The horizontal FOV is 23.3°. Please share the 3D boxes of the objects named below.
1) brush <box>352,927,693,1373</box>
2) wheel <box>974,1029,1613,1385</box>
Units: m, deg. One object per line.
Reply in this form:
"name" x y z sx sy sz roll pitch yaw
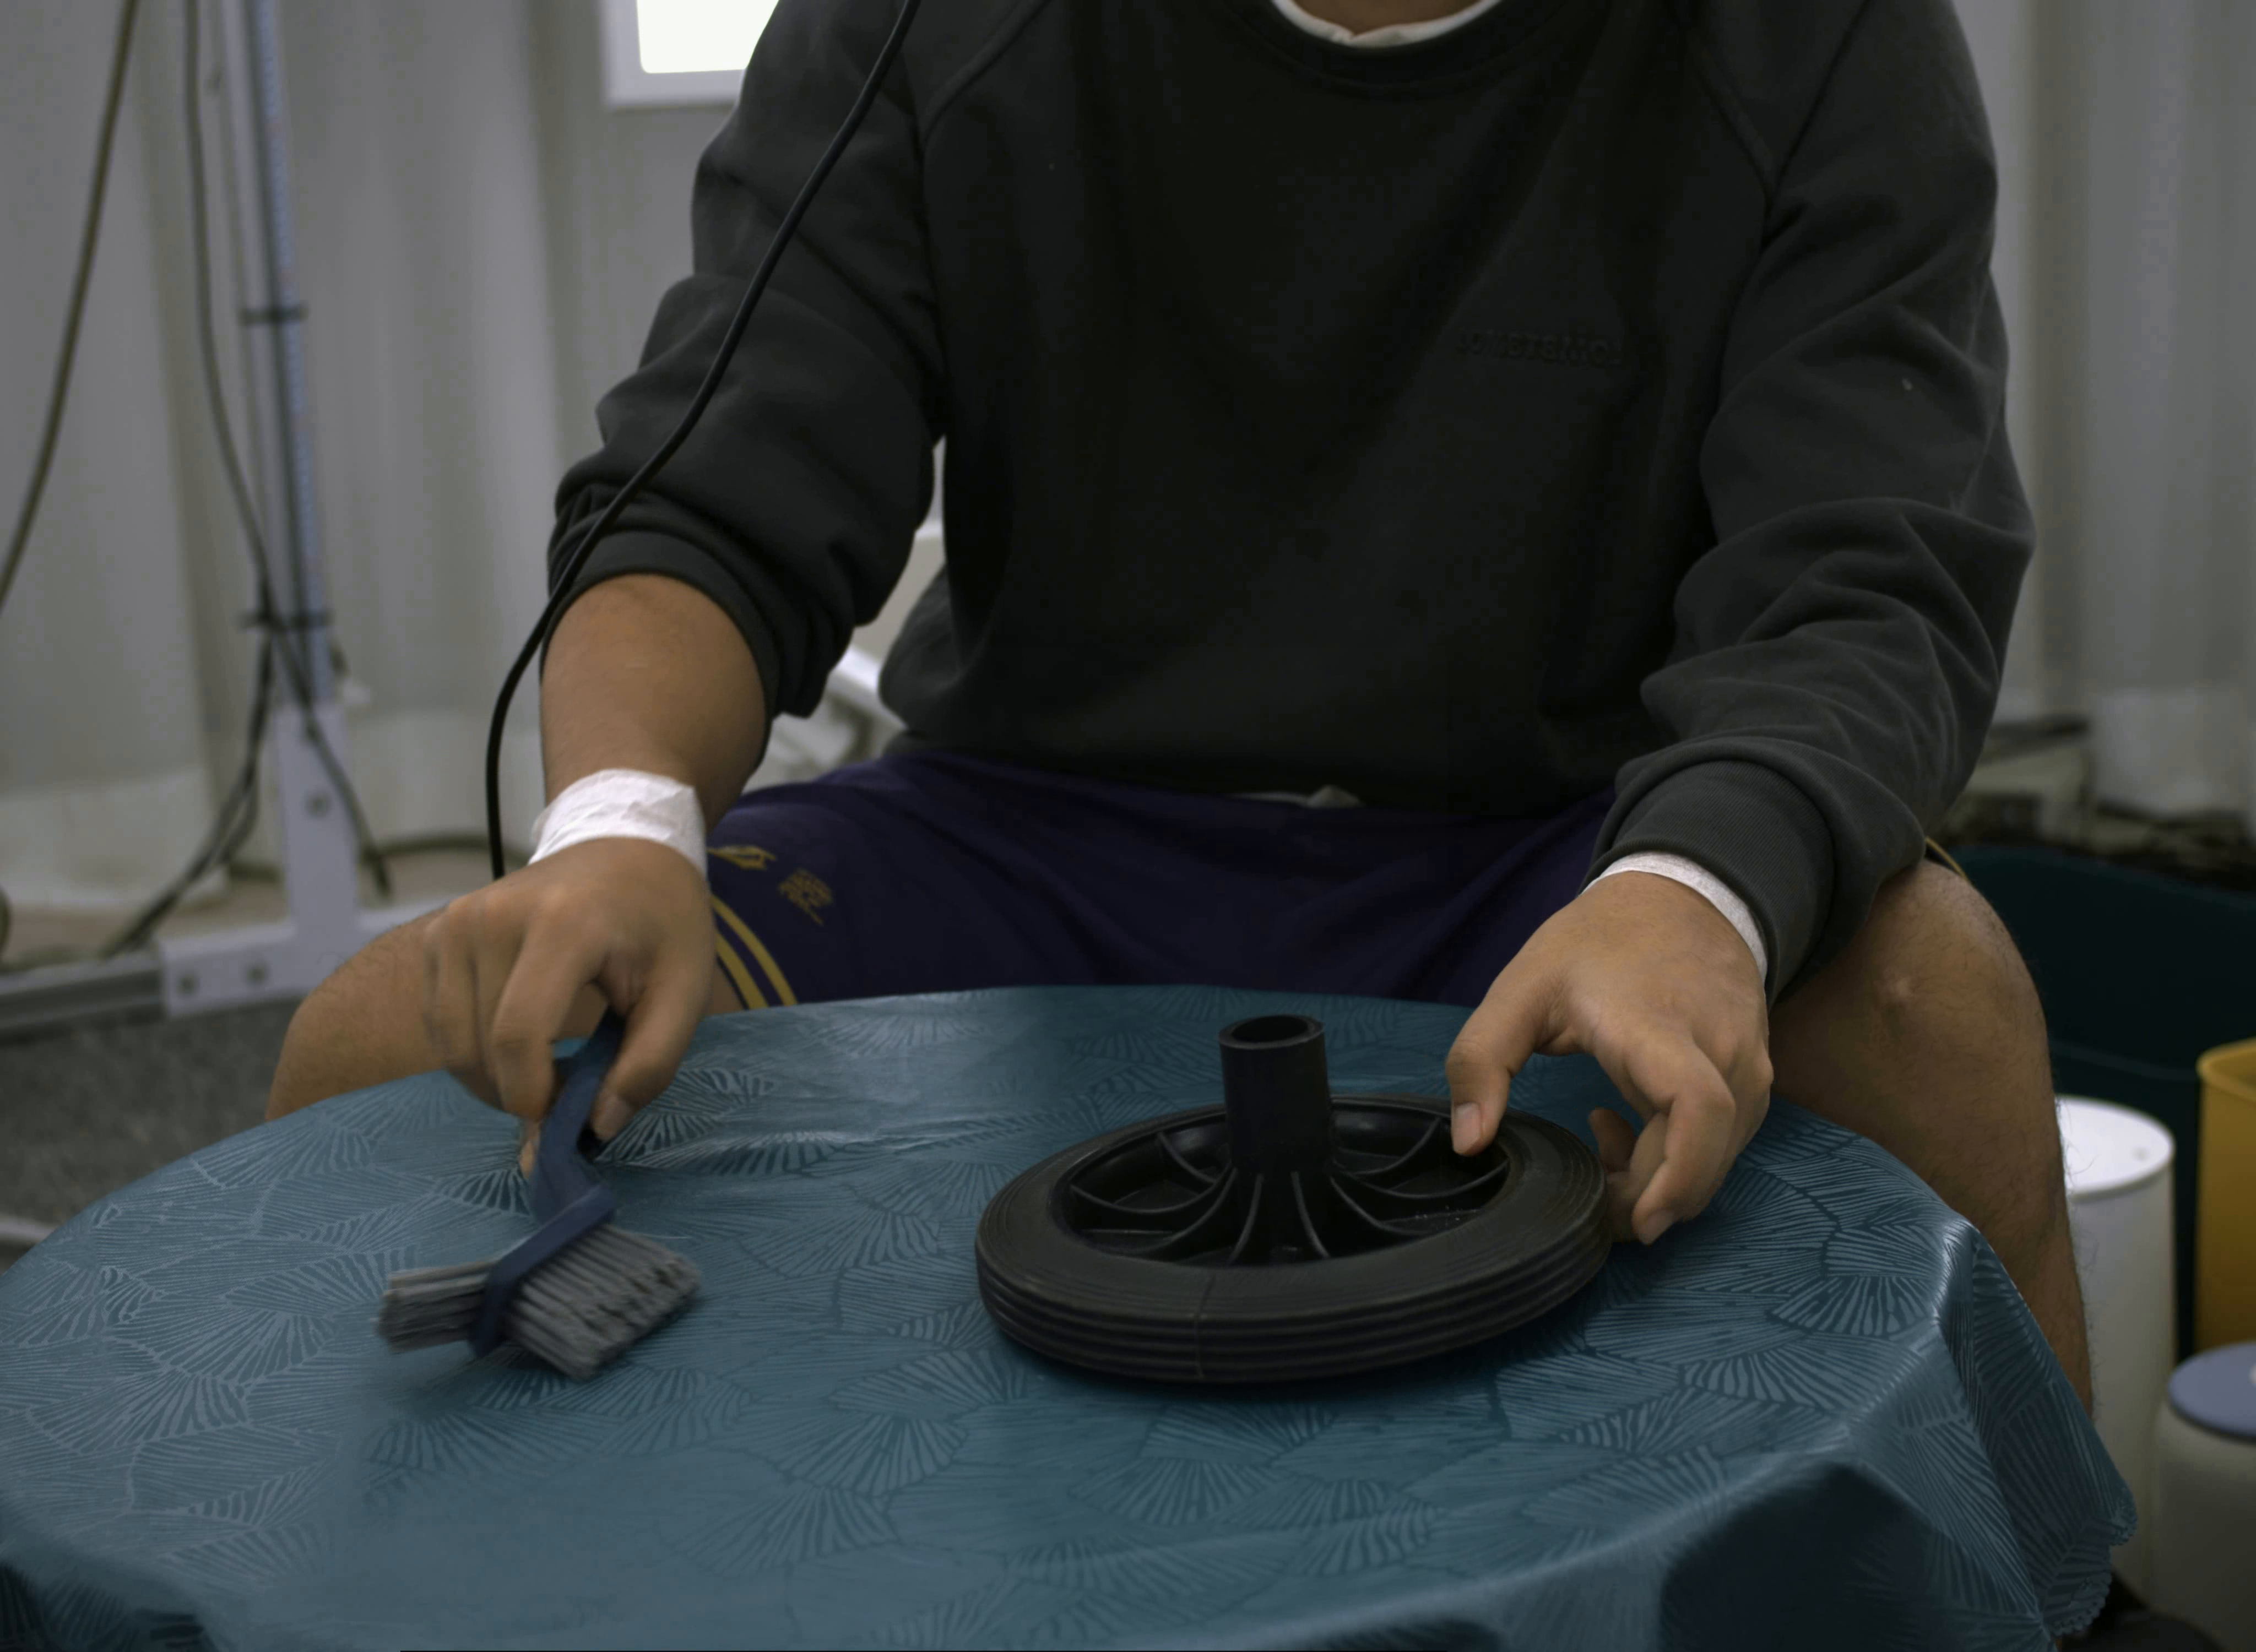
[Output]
"brush" -0.179 0.095 1.698 0.095 0.033 0.276 12 22 -7
"wheel" 0.046 0.102 1.608 0.187 0.079 0.191 -18 18 -34
